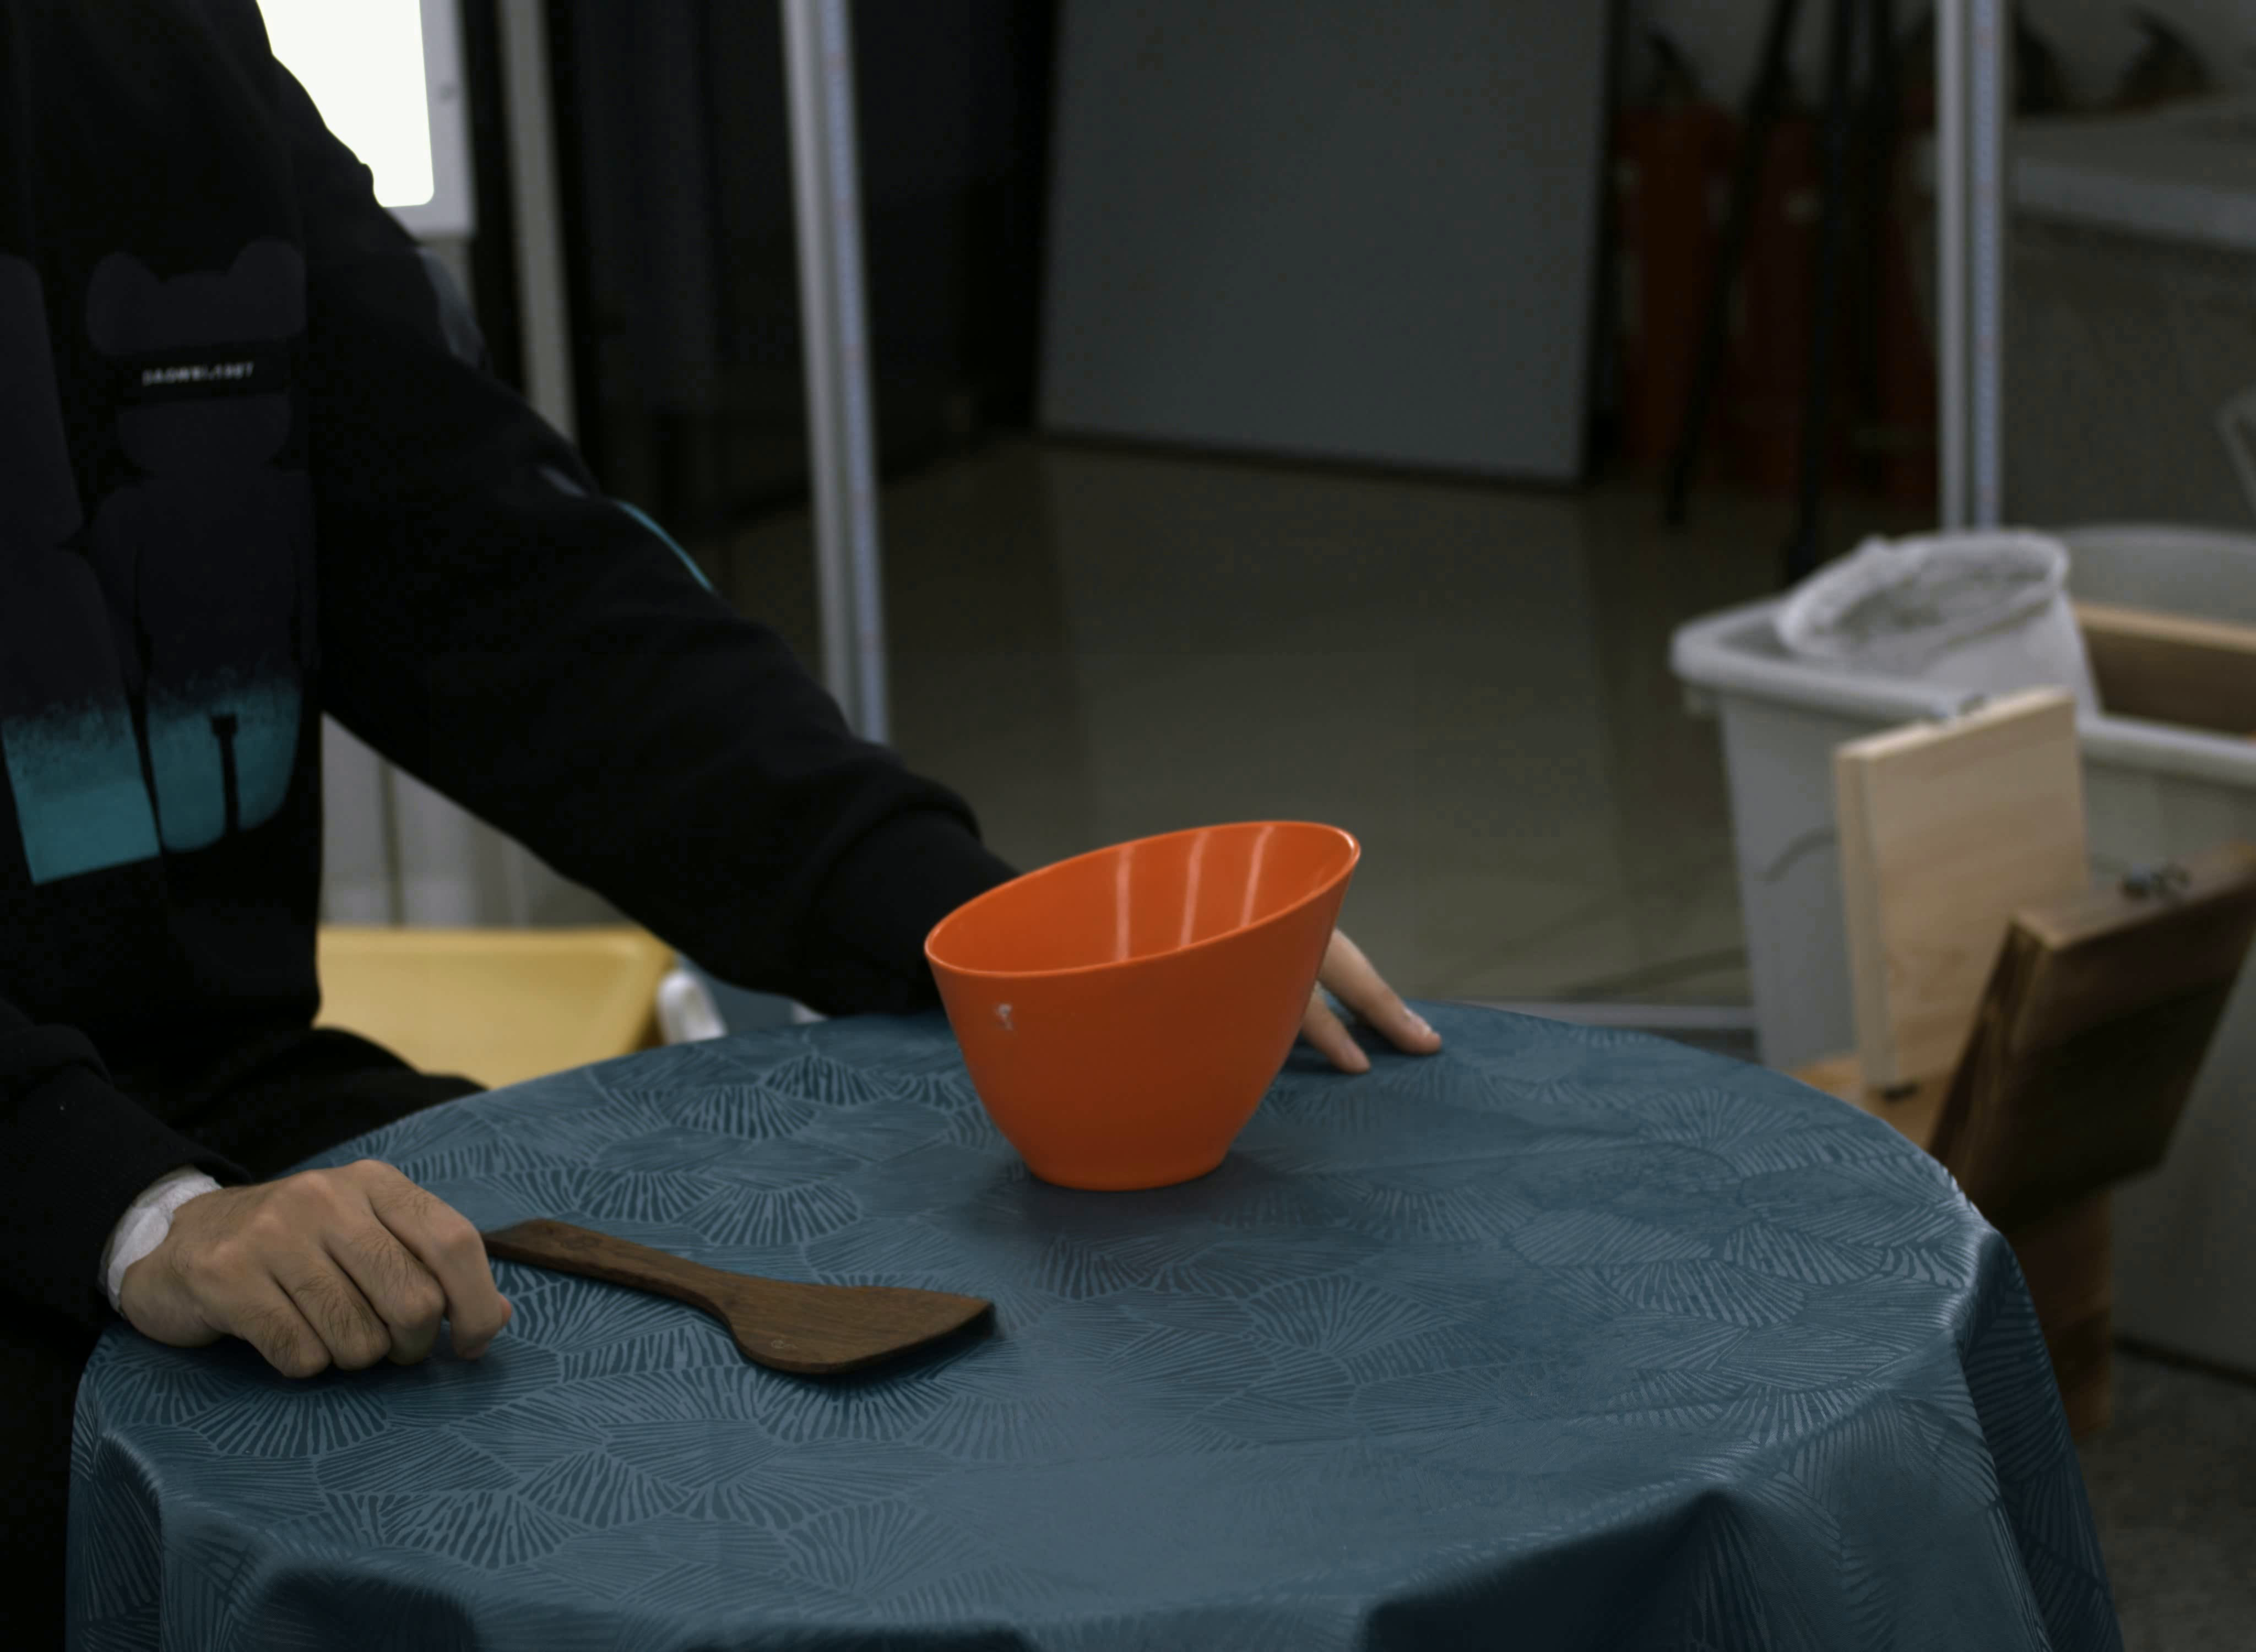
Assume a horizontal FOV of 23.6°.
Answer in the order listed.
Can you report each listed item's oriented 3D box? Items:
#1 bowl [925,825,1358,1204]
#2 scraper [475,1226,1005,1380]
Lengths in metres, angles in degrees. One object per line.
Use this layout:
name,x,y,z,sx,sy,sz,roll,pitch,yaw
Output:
bowl,0.008,0.065,1.789,0.146,0.106,0.148,-6,14,0
scraper,-0.130,0.147,1.692,0.074,0.011,0.213,-16,17,-43
